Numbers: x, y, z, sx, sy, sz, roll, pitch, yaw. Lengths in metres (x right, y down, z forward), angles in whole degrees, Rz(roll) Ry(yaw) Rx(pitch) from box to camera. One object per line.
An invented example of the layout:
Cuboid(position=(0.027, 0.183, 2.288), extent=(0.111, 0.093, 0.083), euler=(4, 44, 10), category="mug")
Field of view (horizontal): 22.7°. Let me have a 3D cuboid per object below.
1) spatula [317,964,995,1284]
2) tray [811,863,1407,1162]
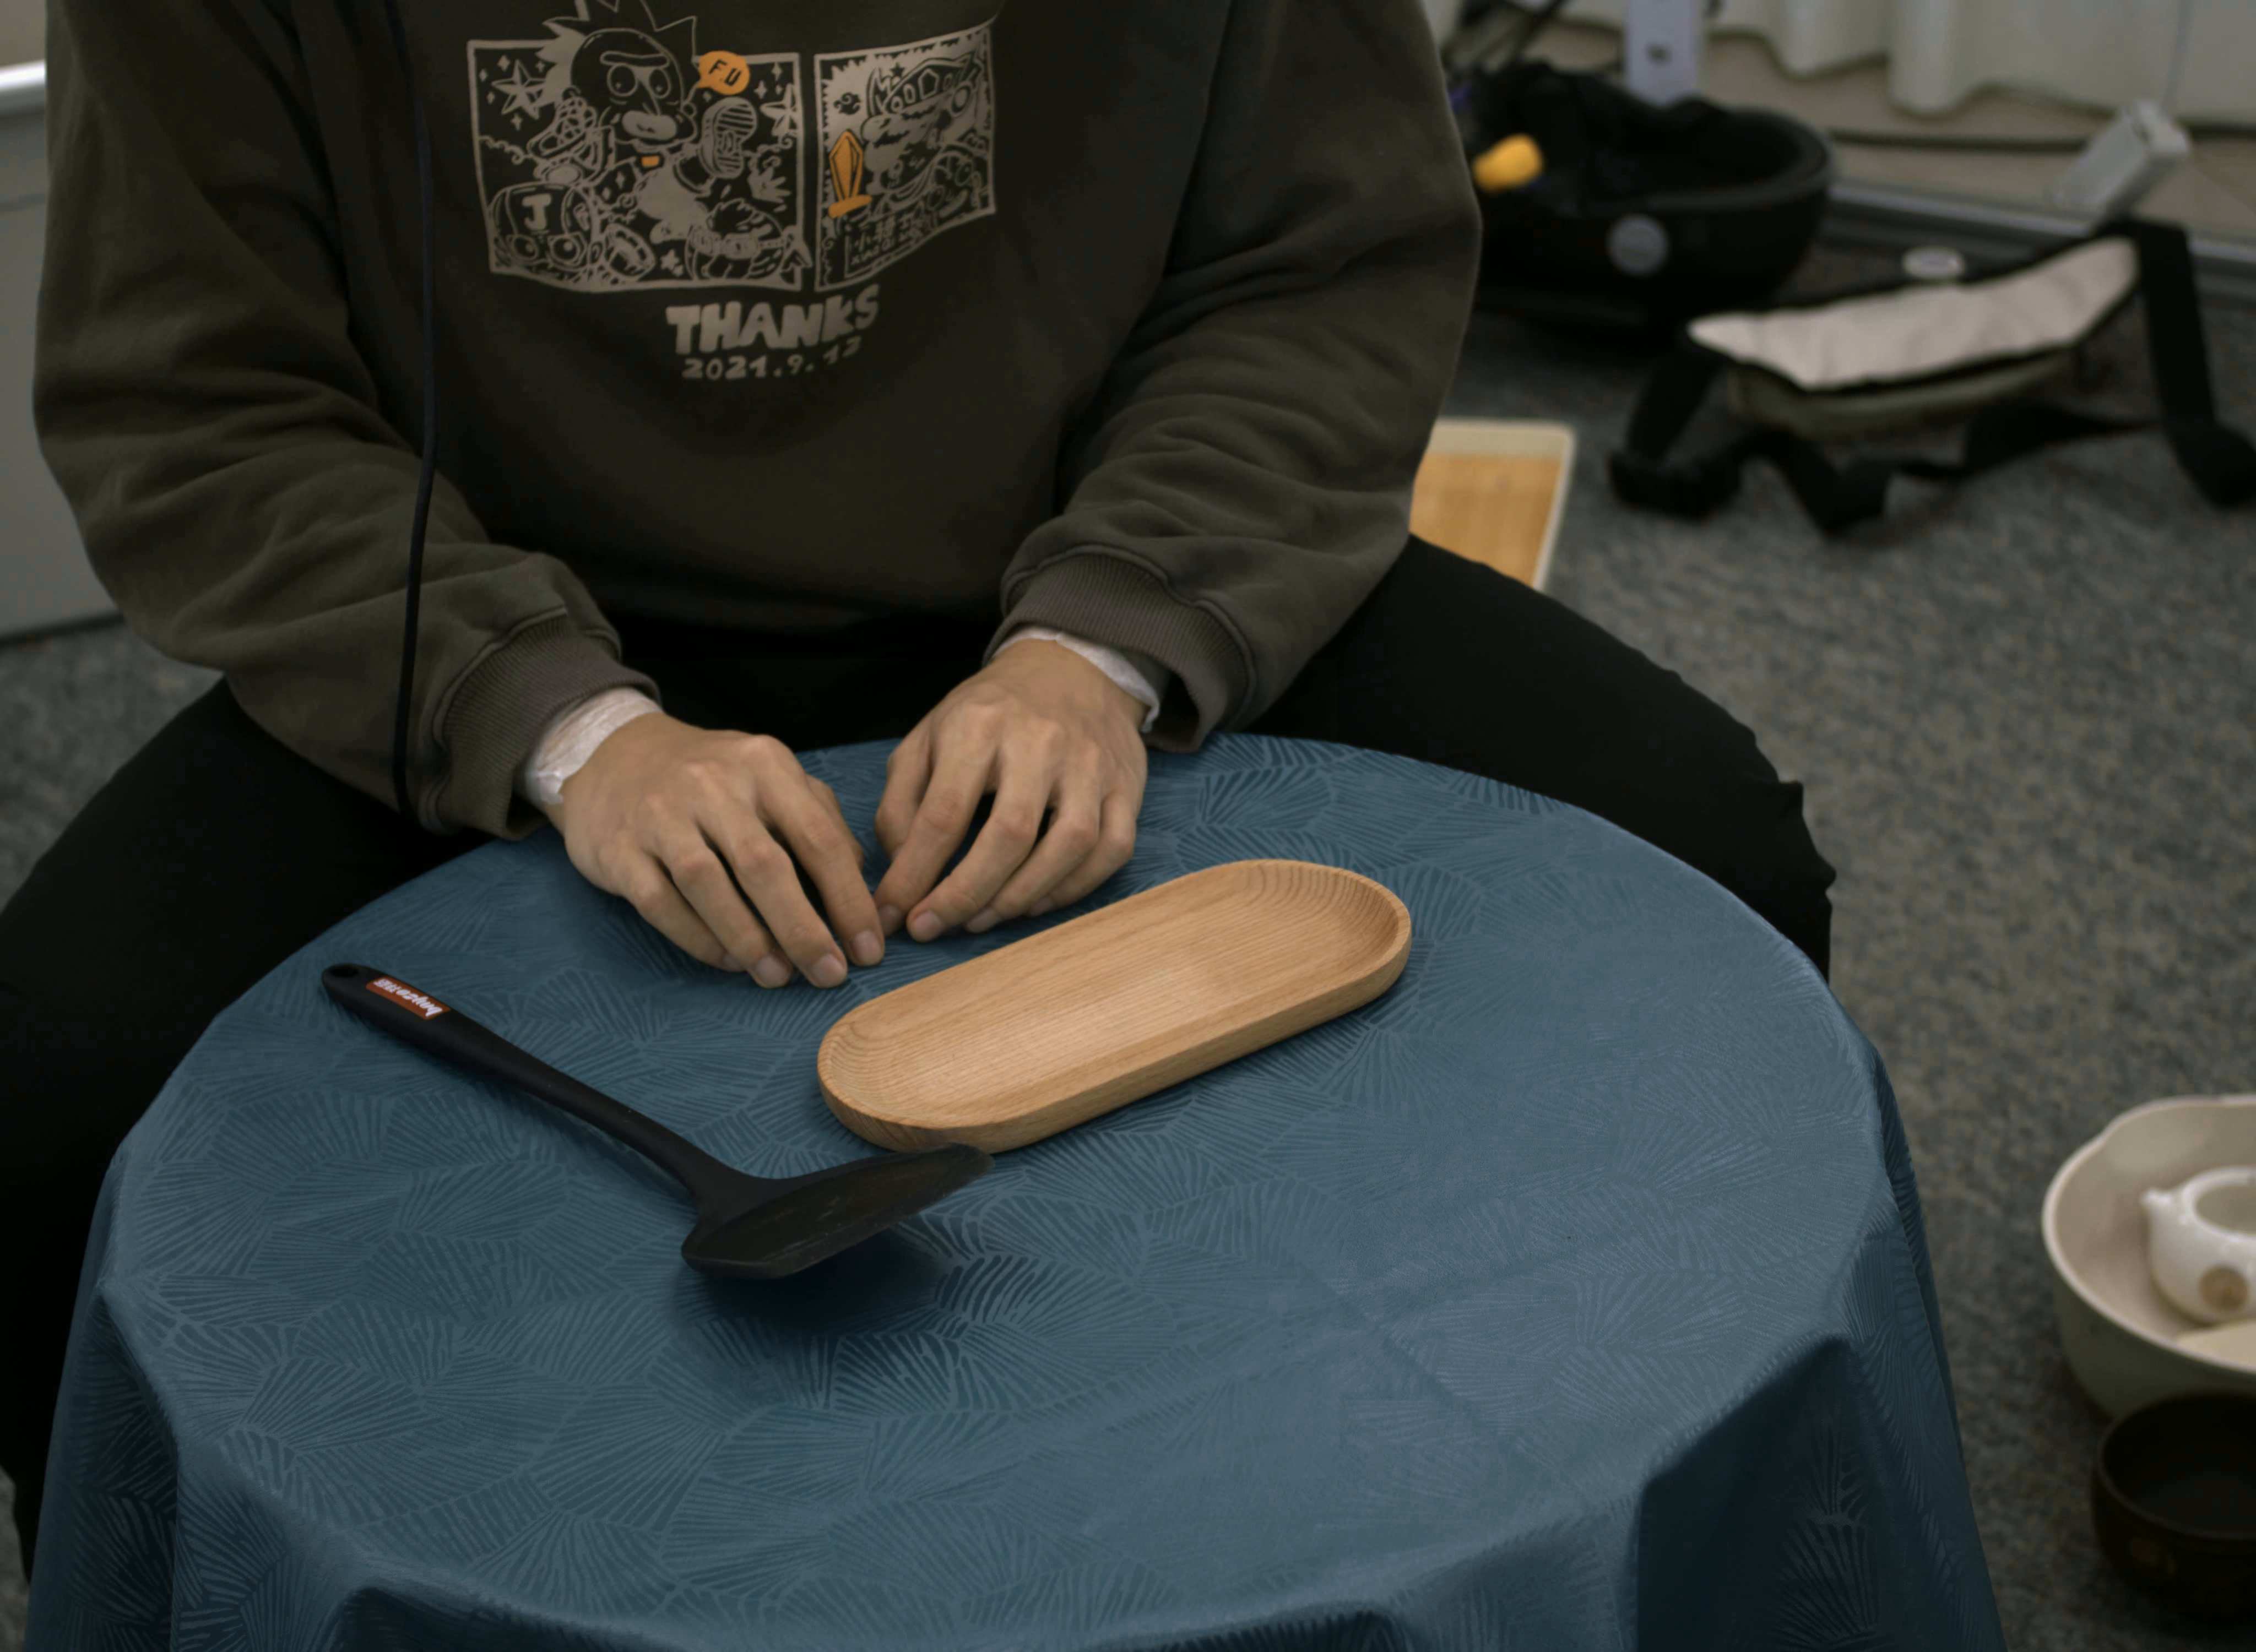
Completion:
Cuboid(position=(-0.180, 0.092, 1.896), extent=(0.101, 0.040, 0.326), euler=(-24, 34, -36), category="spatula")
Cuboid(position=(-0.005, 0.064, 1.954), extent=(0.233, 0.020, 0.102), euler=(-22, 33, -30), category="tray")
